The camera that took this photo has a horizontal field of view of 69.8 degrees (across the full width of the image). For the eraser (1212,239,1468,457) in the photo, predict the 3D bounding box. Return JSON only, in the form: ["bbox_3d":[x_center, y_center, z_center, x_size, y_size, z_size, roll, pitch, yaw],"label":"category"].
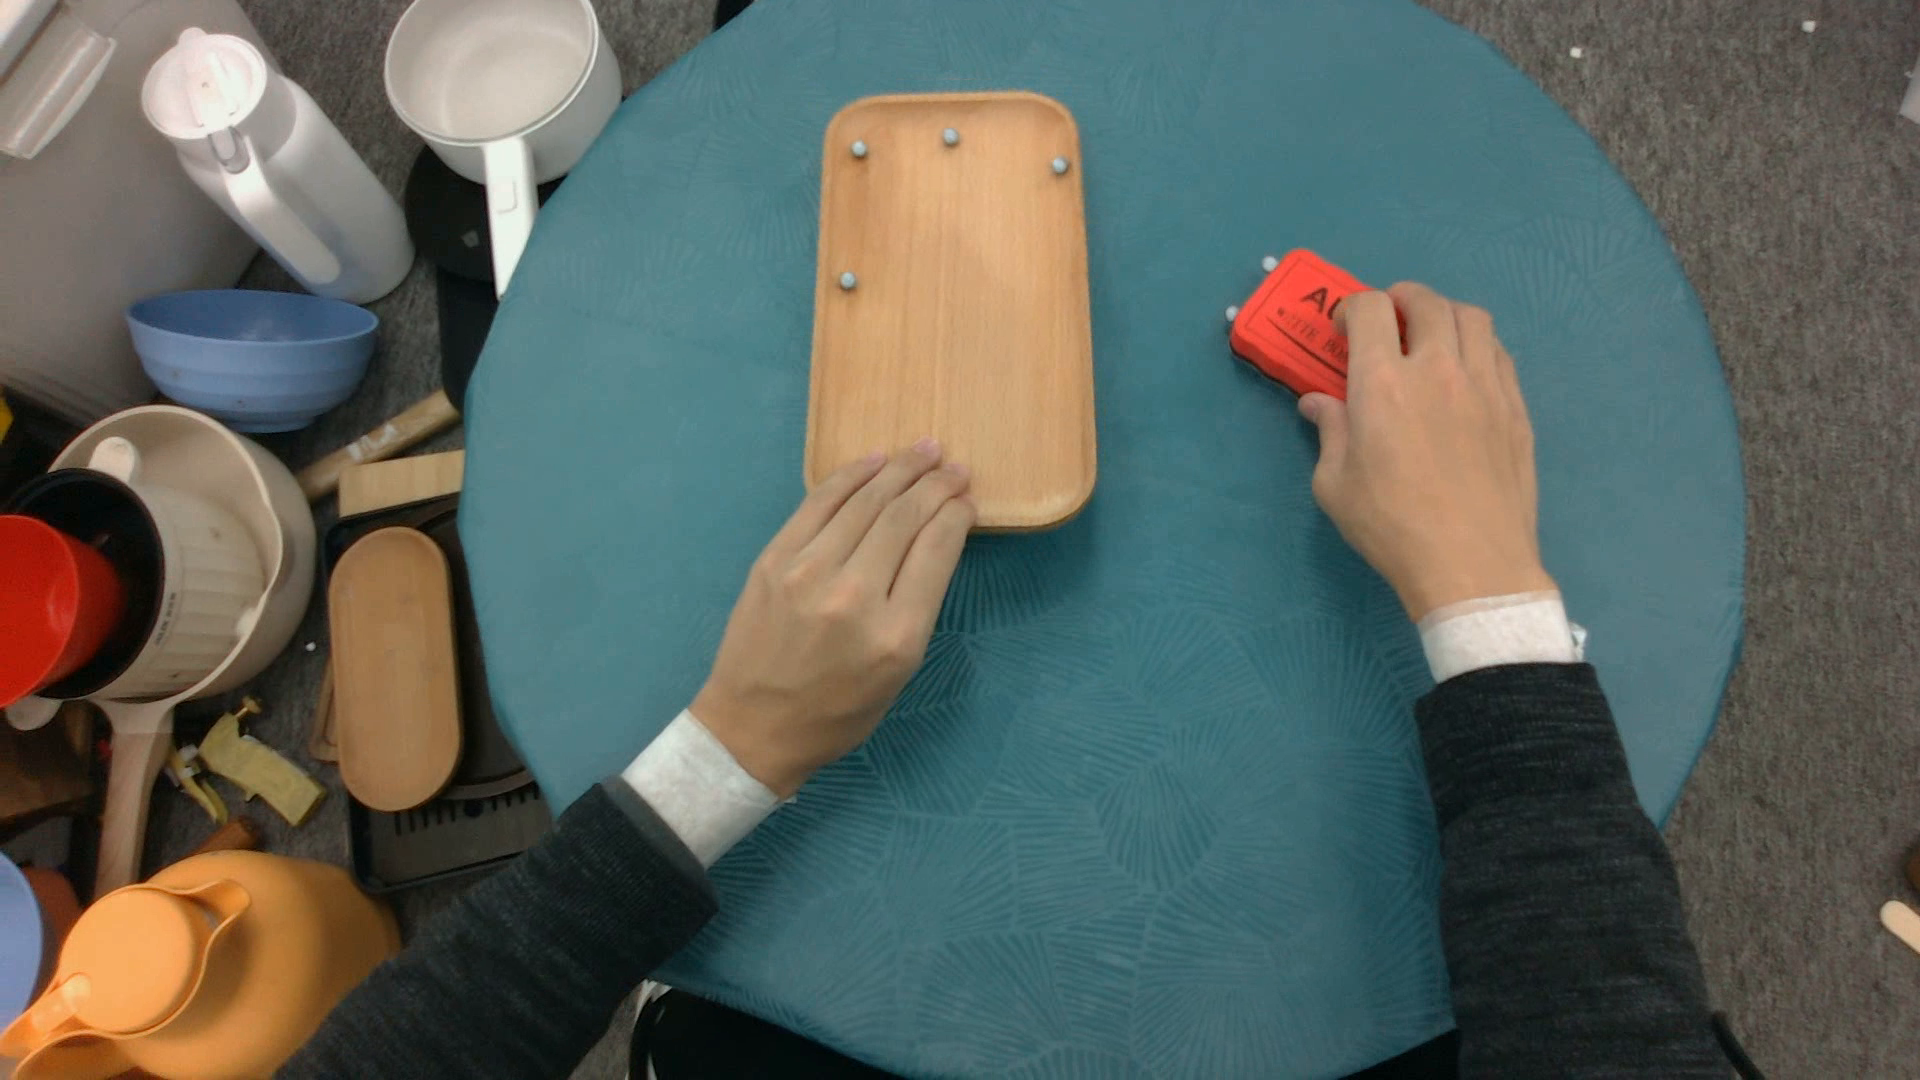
[{"bbox_3d":[0.174,-0.090,0.637,0.108,0.023,0.059,36,79,15],"label":"eraser"}]

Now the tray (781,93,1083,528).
[{"bbox_3d":[-0.008,-0.114,0.636,0.130,0.023,0.252,1,60,4],"label":"tray"}]
